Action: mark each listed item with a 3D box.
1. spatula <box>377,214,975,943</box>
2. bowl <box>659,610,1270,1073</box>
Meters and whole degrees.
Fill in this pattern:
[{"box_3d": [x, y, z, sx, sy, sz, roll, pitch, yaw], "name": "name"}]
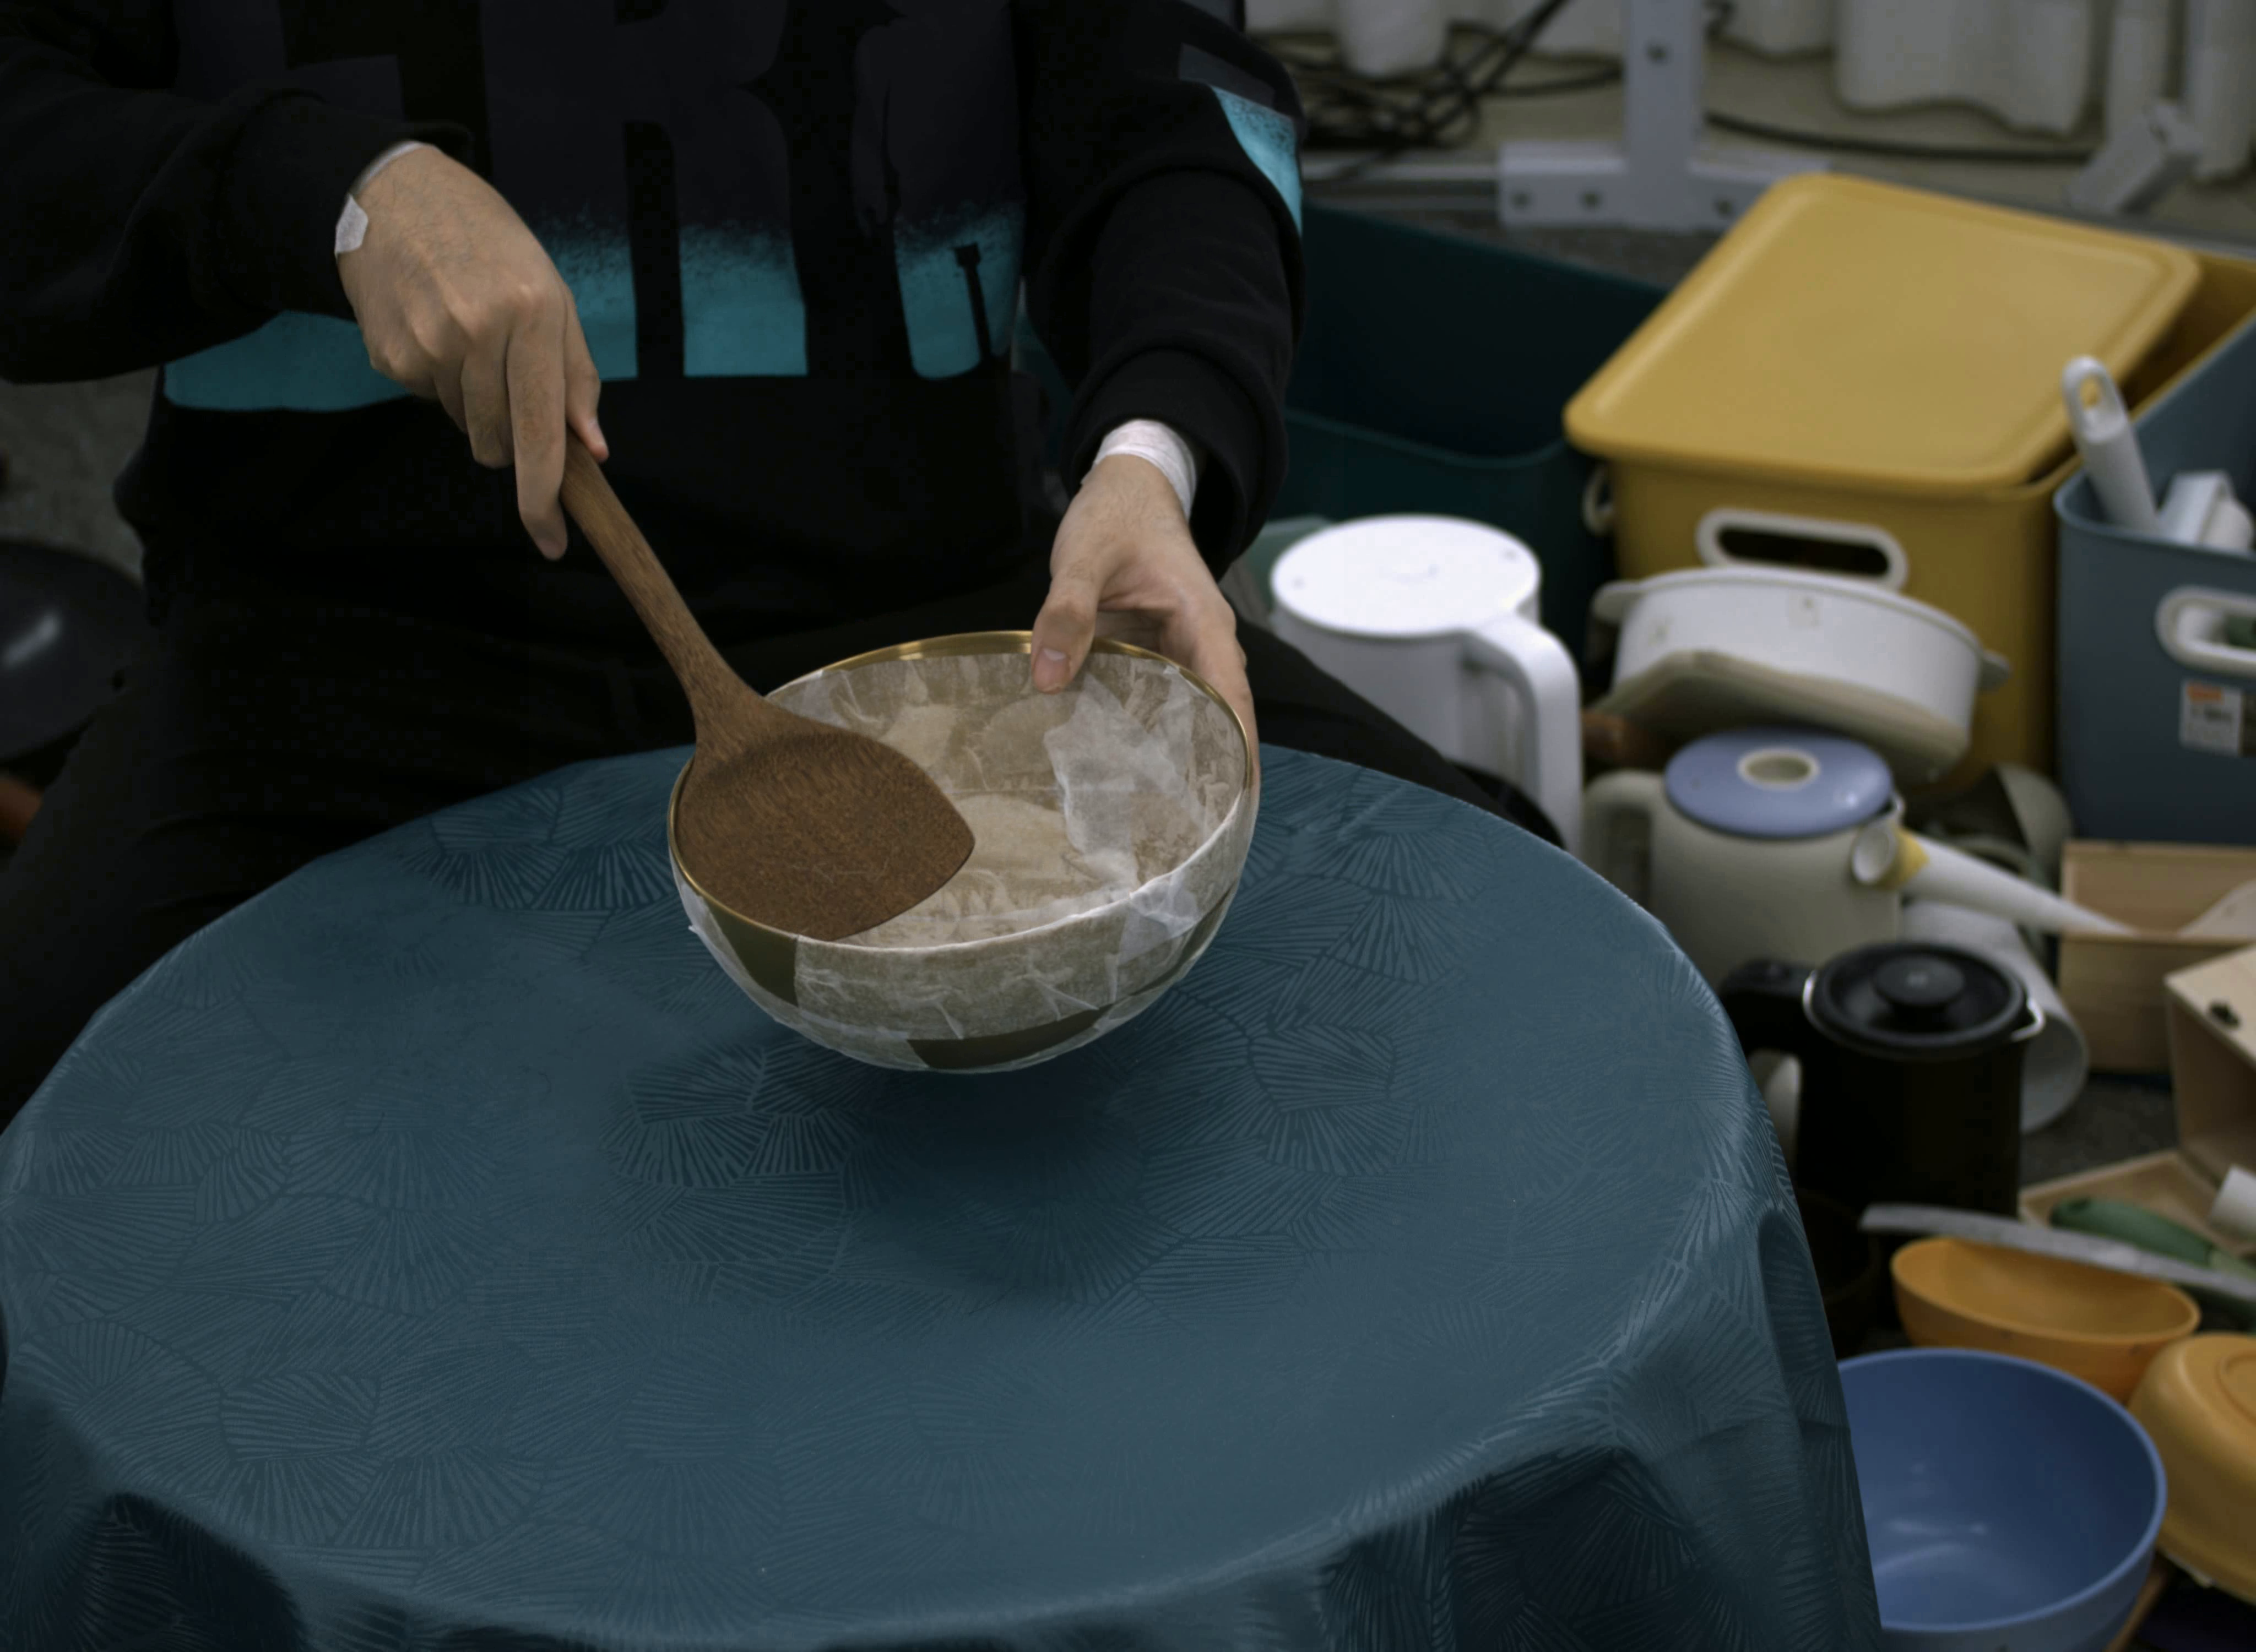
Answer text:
[{"box_3d": [-0.177, -0.095, 1.972, 0.096, 0.015, 0.390, -22, 54, -19], "name": "spatula"}, {"box_3d": [-0.050, 0.018, 1.910, 0.213, 0.093, 0.218, -5, 33, 4], "name": "bowl"}]
